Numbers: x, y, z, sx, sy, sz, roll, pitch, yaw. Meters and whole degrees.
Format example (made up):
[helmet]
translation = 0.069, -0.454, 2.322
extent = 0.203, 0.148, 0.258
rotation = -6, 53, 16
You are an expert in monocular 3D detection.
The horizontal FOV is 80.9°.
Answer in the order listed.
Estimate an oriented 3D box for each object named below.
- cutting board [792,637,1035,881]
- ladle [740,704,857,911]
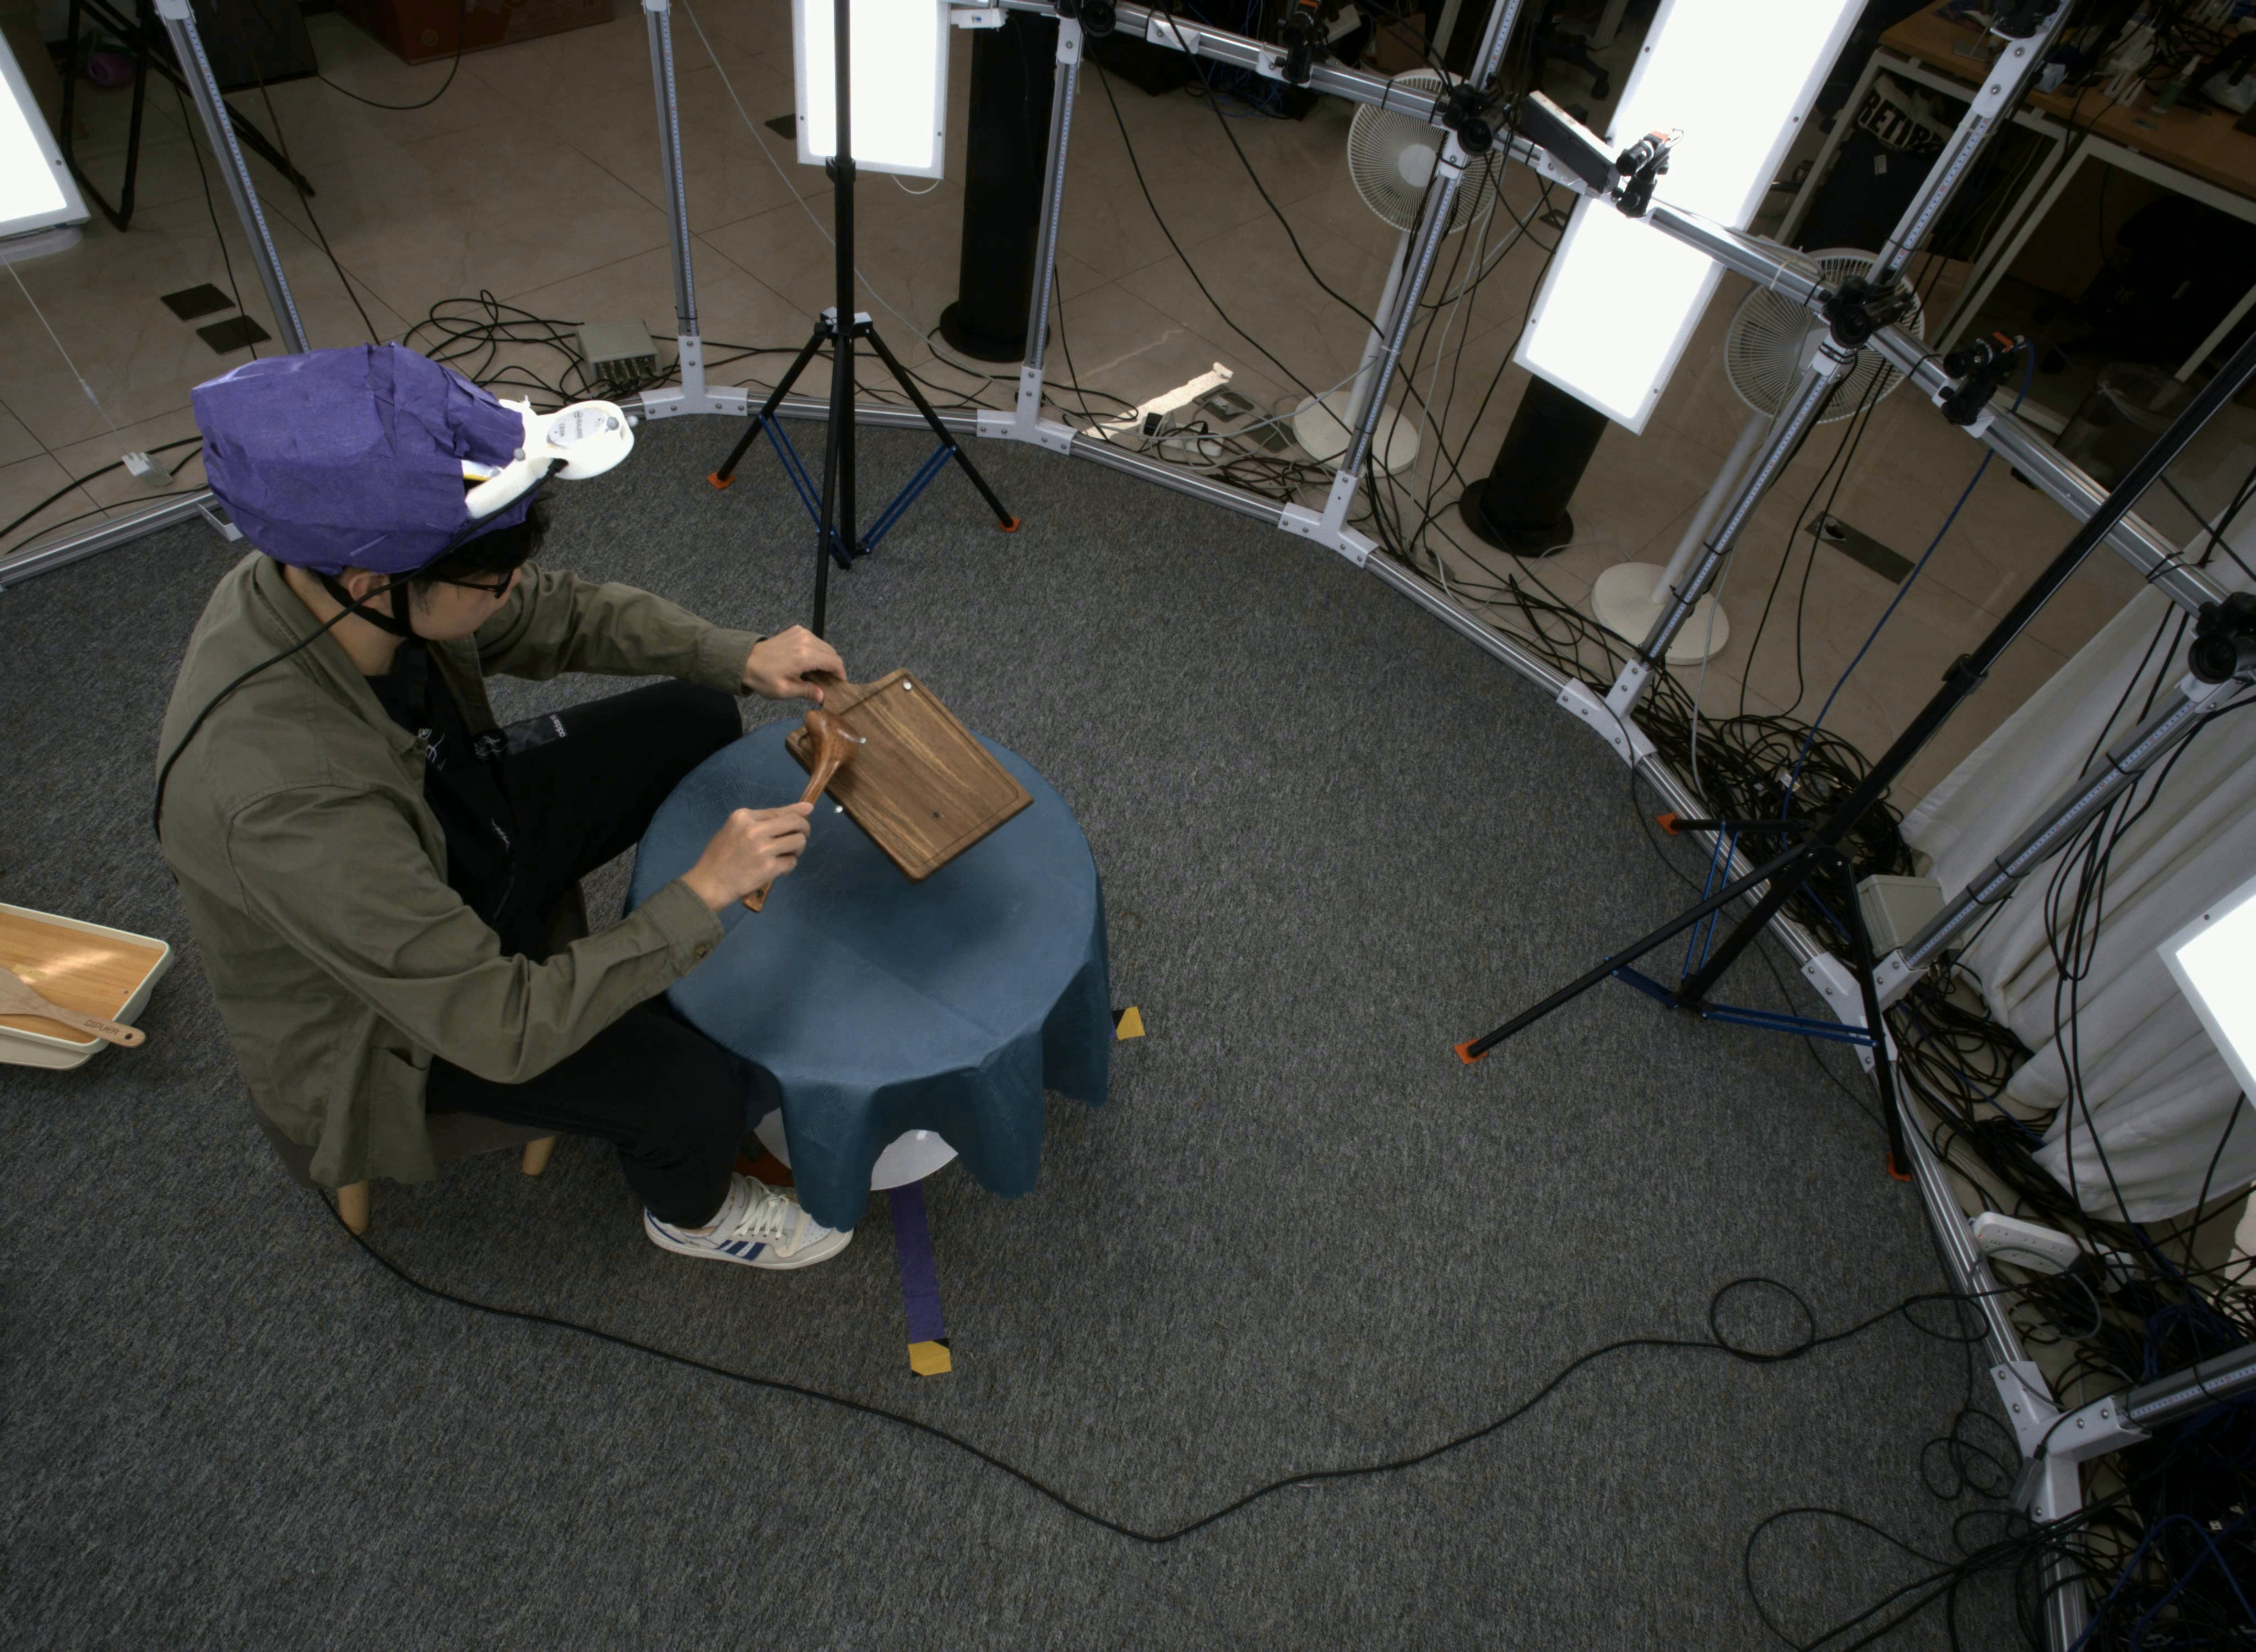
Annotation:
[cutting board]
translation = -0.298, -0.110, 1.631
extent = 0.201, 0.023, 0.348
rotation = -37, 79, -32
[ladle]
translation = -0.396, -0.025, 1.507
extent = 0.084, 0.074, 0.273
rotation = 37, 62, -30
